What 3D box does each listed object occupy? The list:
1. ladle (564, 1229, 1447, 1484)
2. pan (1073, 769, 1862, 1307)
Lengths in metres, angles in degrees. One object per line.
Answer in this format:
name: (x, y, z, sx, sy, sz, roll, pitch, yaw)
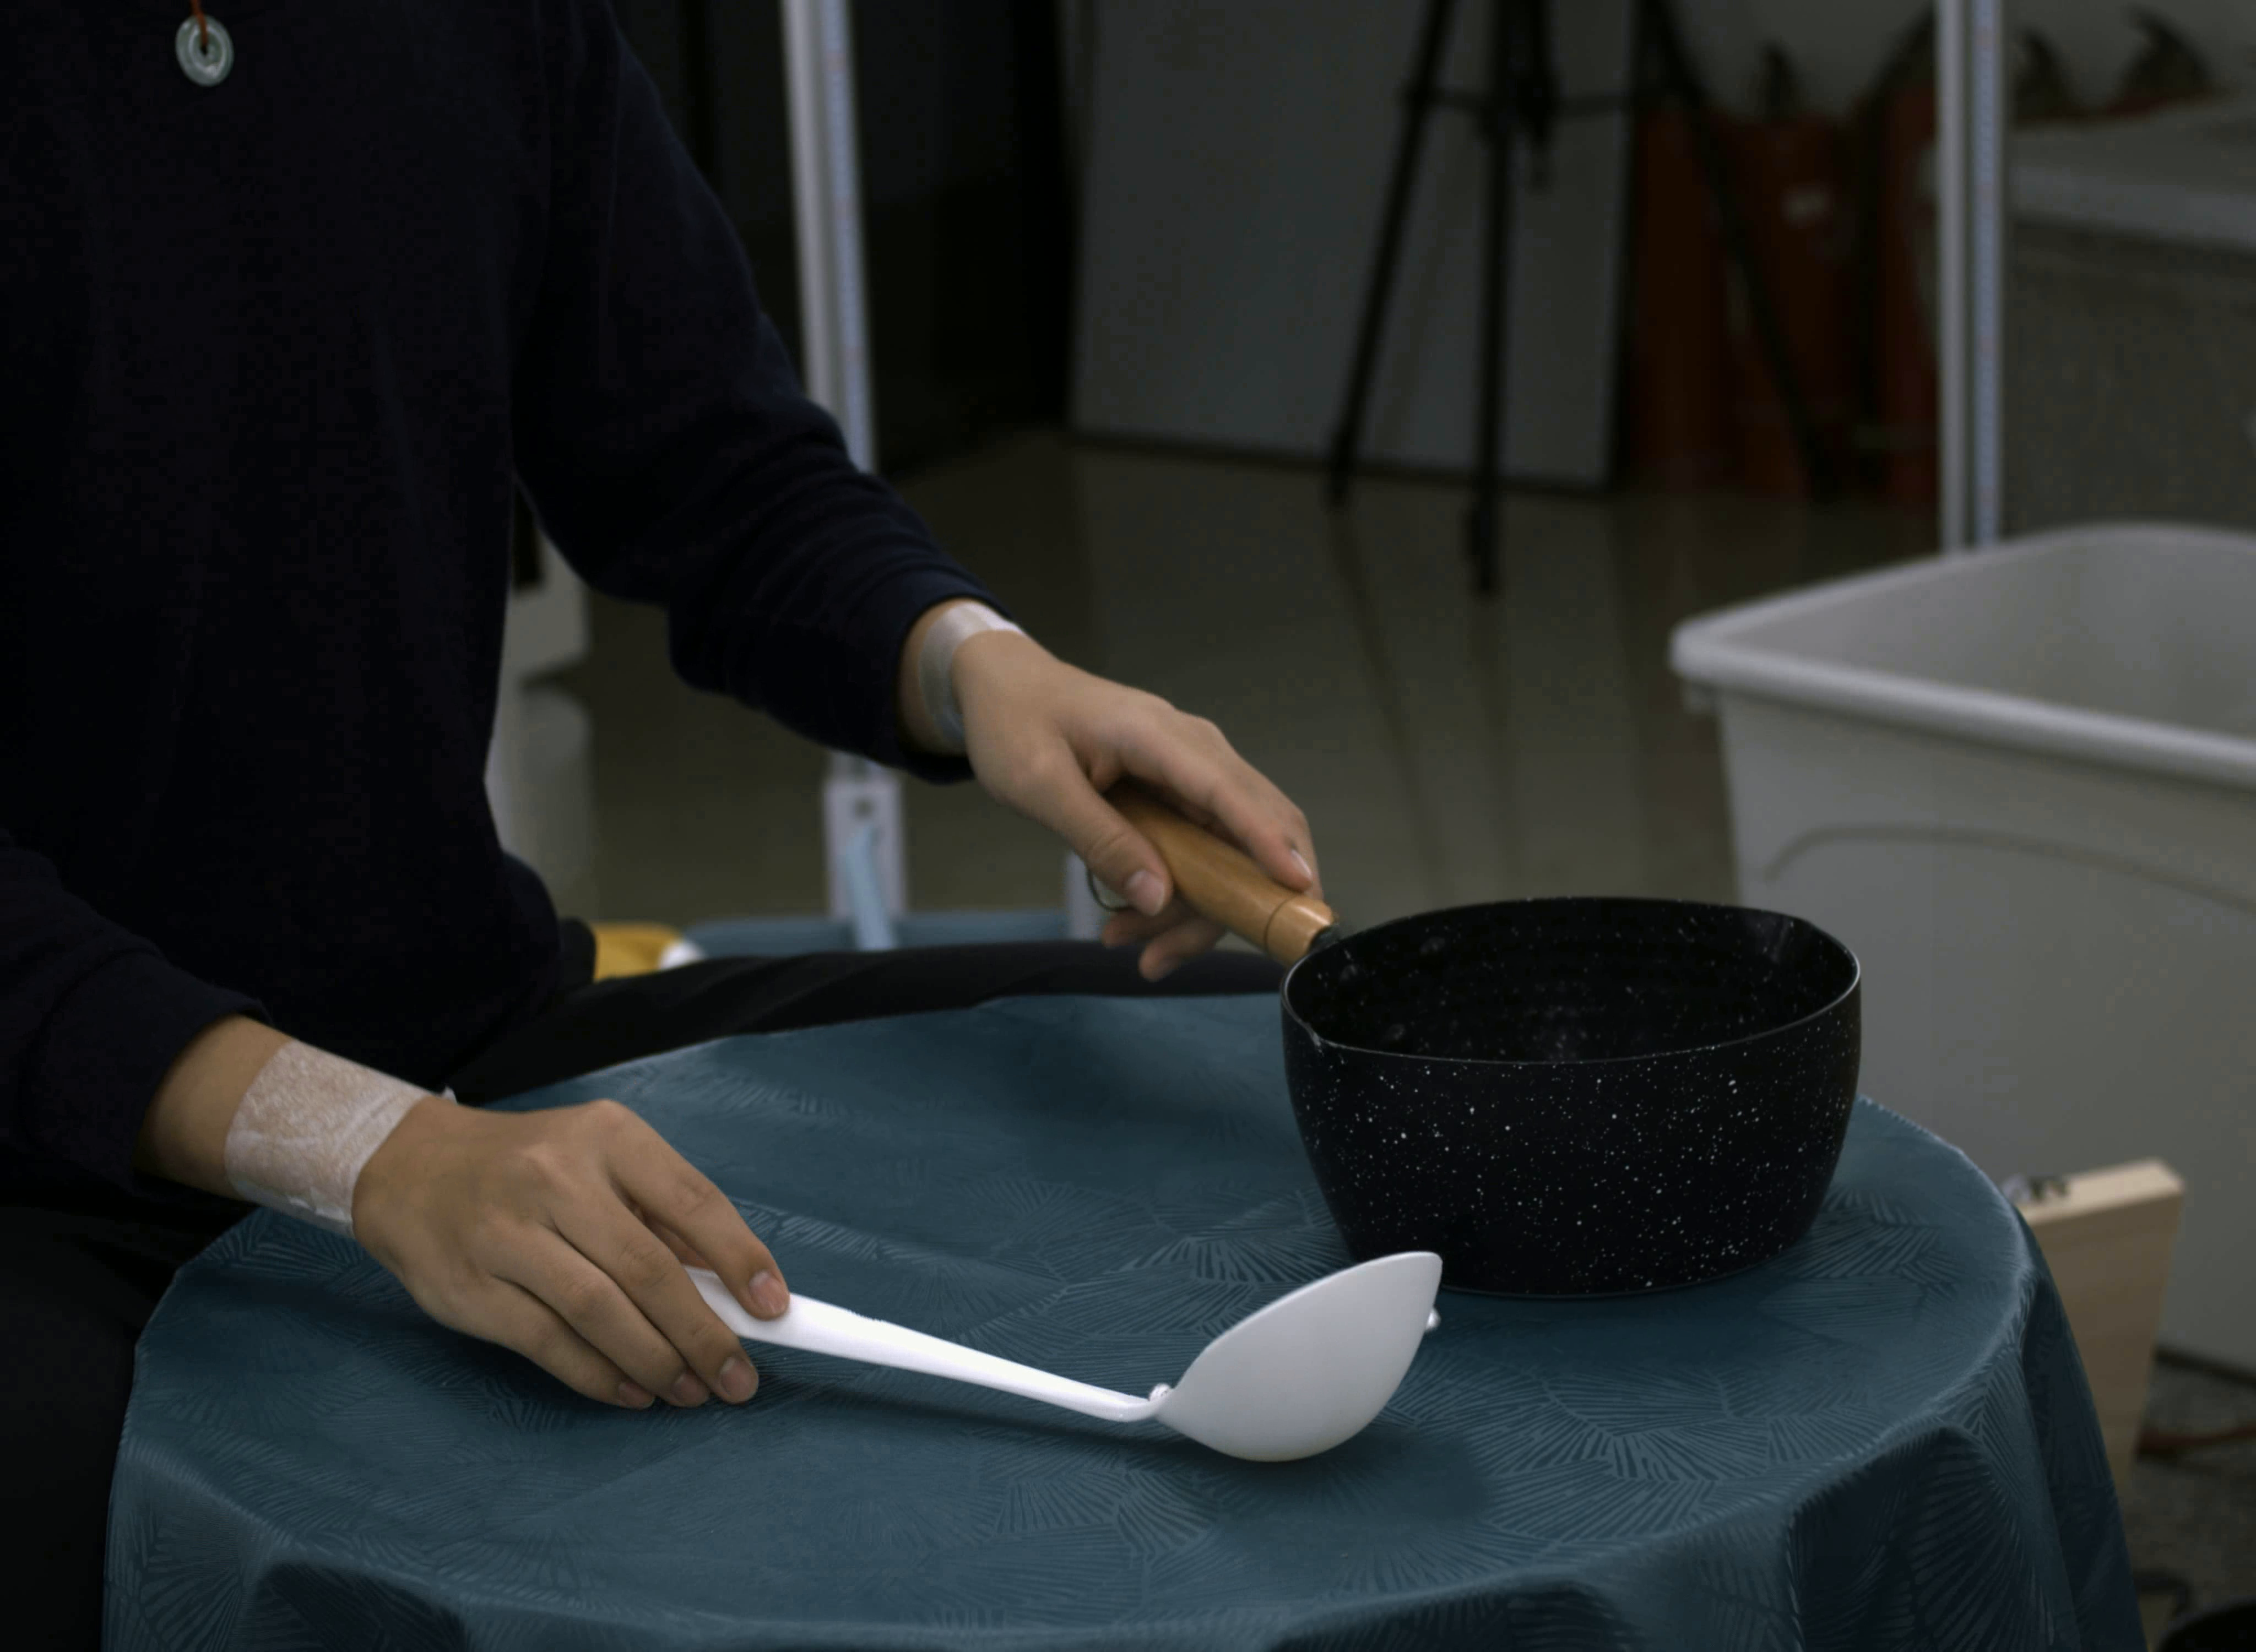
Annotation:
ladle: (-0.043, 0.139, 1.572, 0.295, 0.071, 0.088, 9, 8, 34)
pan: (0.091, 0.062, 1.756, 0.203, 0.109, 0.346, -15, 19, -35)
